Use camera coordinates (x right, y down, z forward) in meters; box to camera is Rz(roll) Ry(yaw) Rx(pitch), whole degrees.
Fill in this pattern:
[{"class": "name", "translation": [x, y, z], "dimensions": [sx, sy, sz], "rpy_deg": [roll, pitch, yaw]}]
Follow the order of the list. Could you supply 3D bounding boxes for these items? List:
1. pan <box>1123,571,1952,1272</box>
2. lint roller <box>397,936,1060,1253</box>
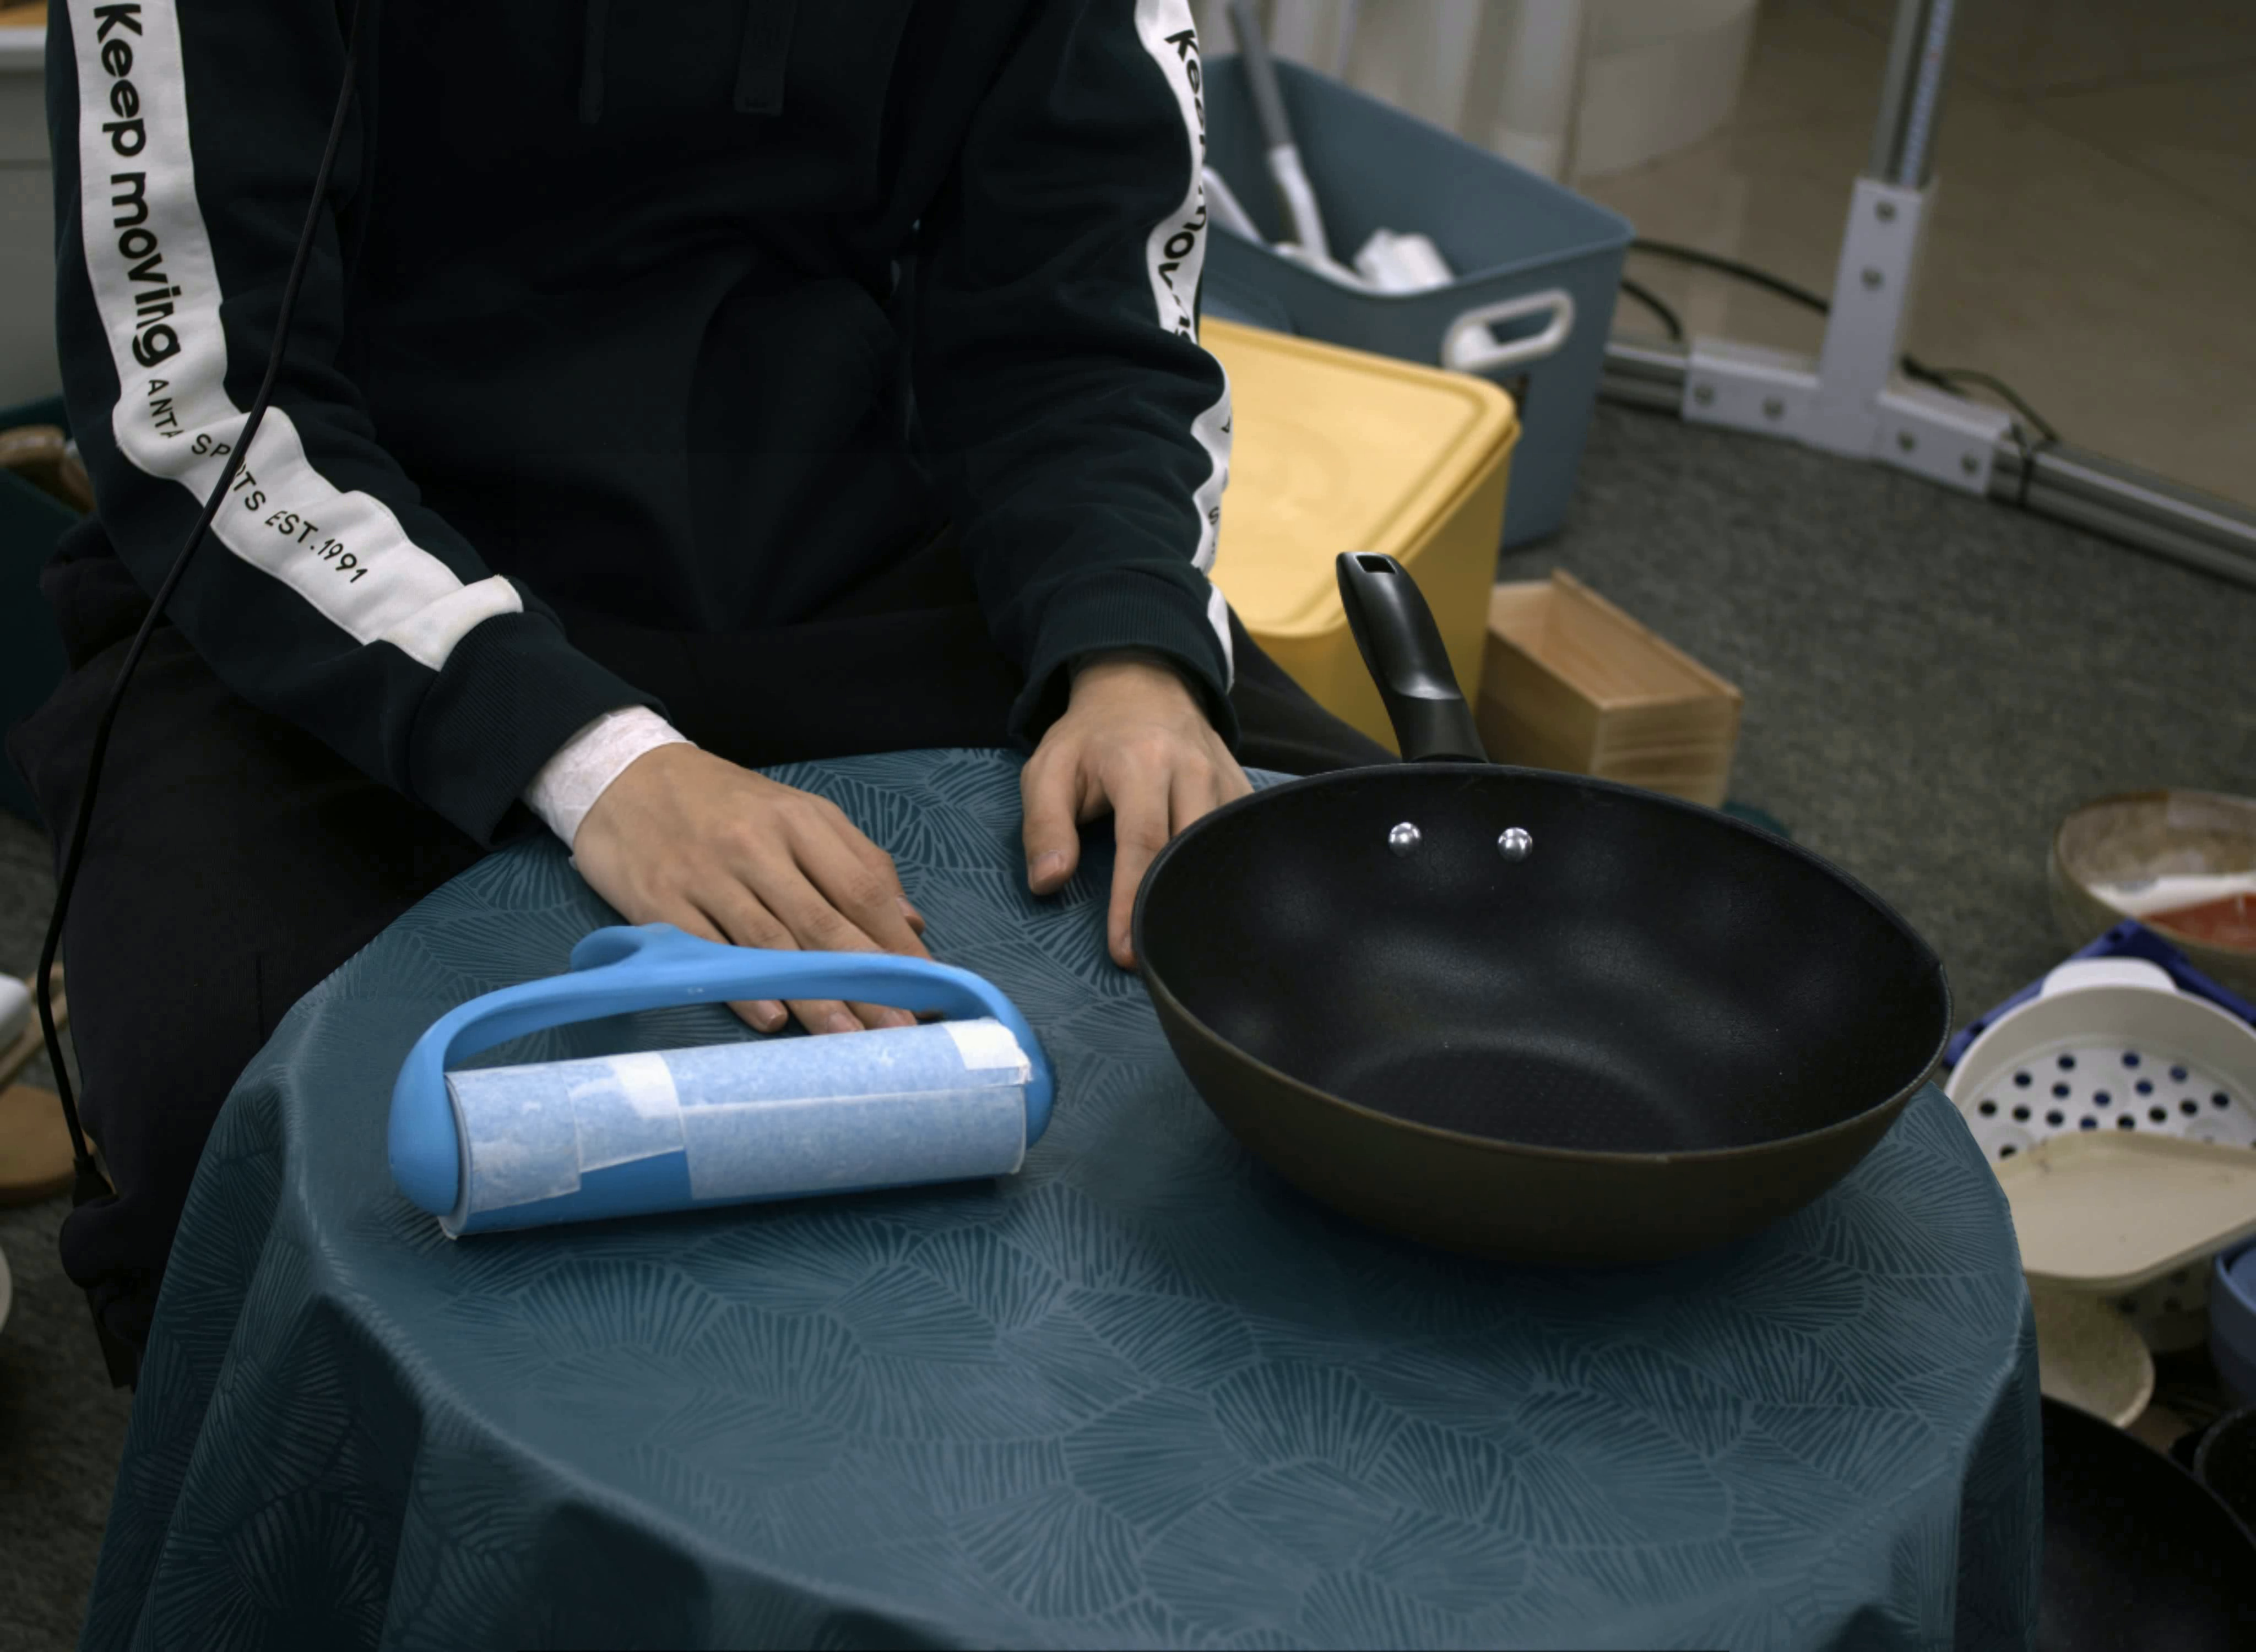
[{"class": "pan", "translation": [0.123, 0.036, 1.910], "dimensions": [0.287, 0.086, 0.467], "rpy_deg": [2, 26, -10]}, {"class": "lint roller", "translation": [-0.154, 0.073, 1.803], "dimensions": [0.227, 0.067, 0.182], "rpy_deg": [-9, 32, -23]}]
